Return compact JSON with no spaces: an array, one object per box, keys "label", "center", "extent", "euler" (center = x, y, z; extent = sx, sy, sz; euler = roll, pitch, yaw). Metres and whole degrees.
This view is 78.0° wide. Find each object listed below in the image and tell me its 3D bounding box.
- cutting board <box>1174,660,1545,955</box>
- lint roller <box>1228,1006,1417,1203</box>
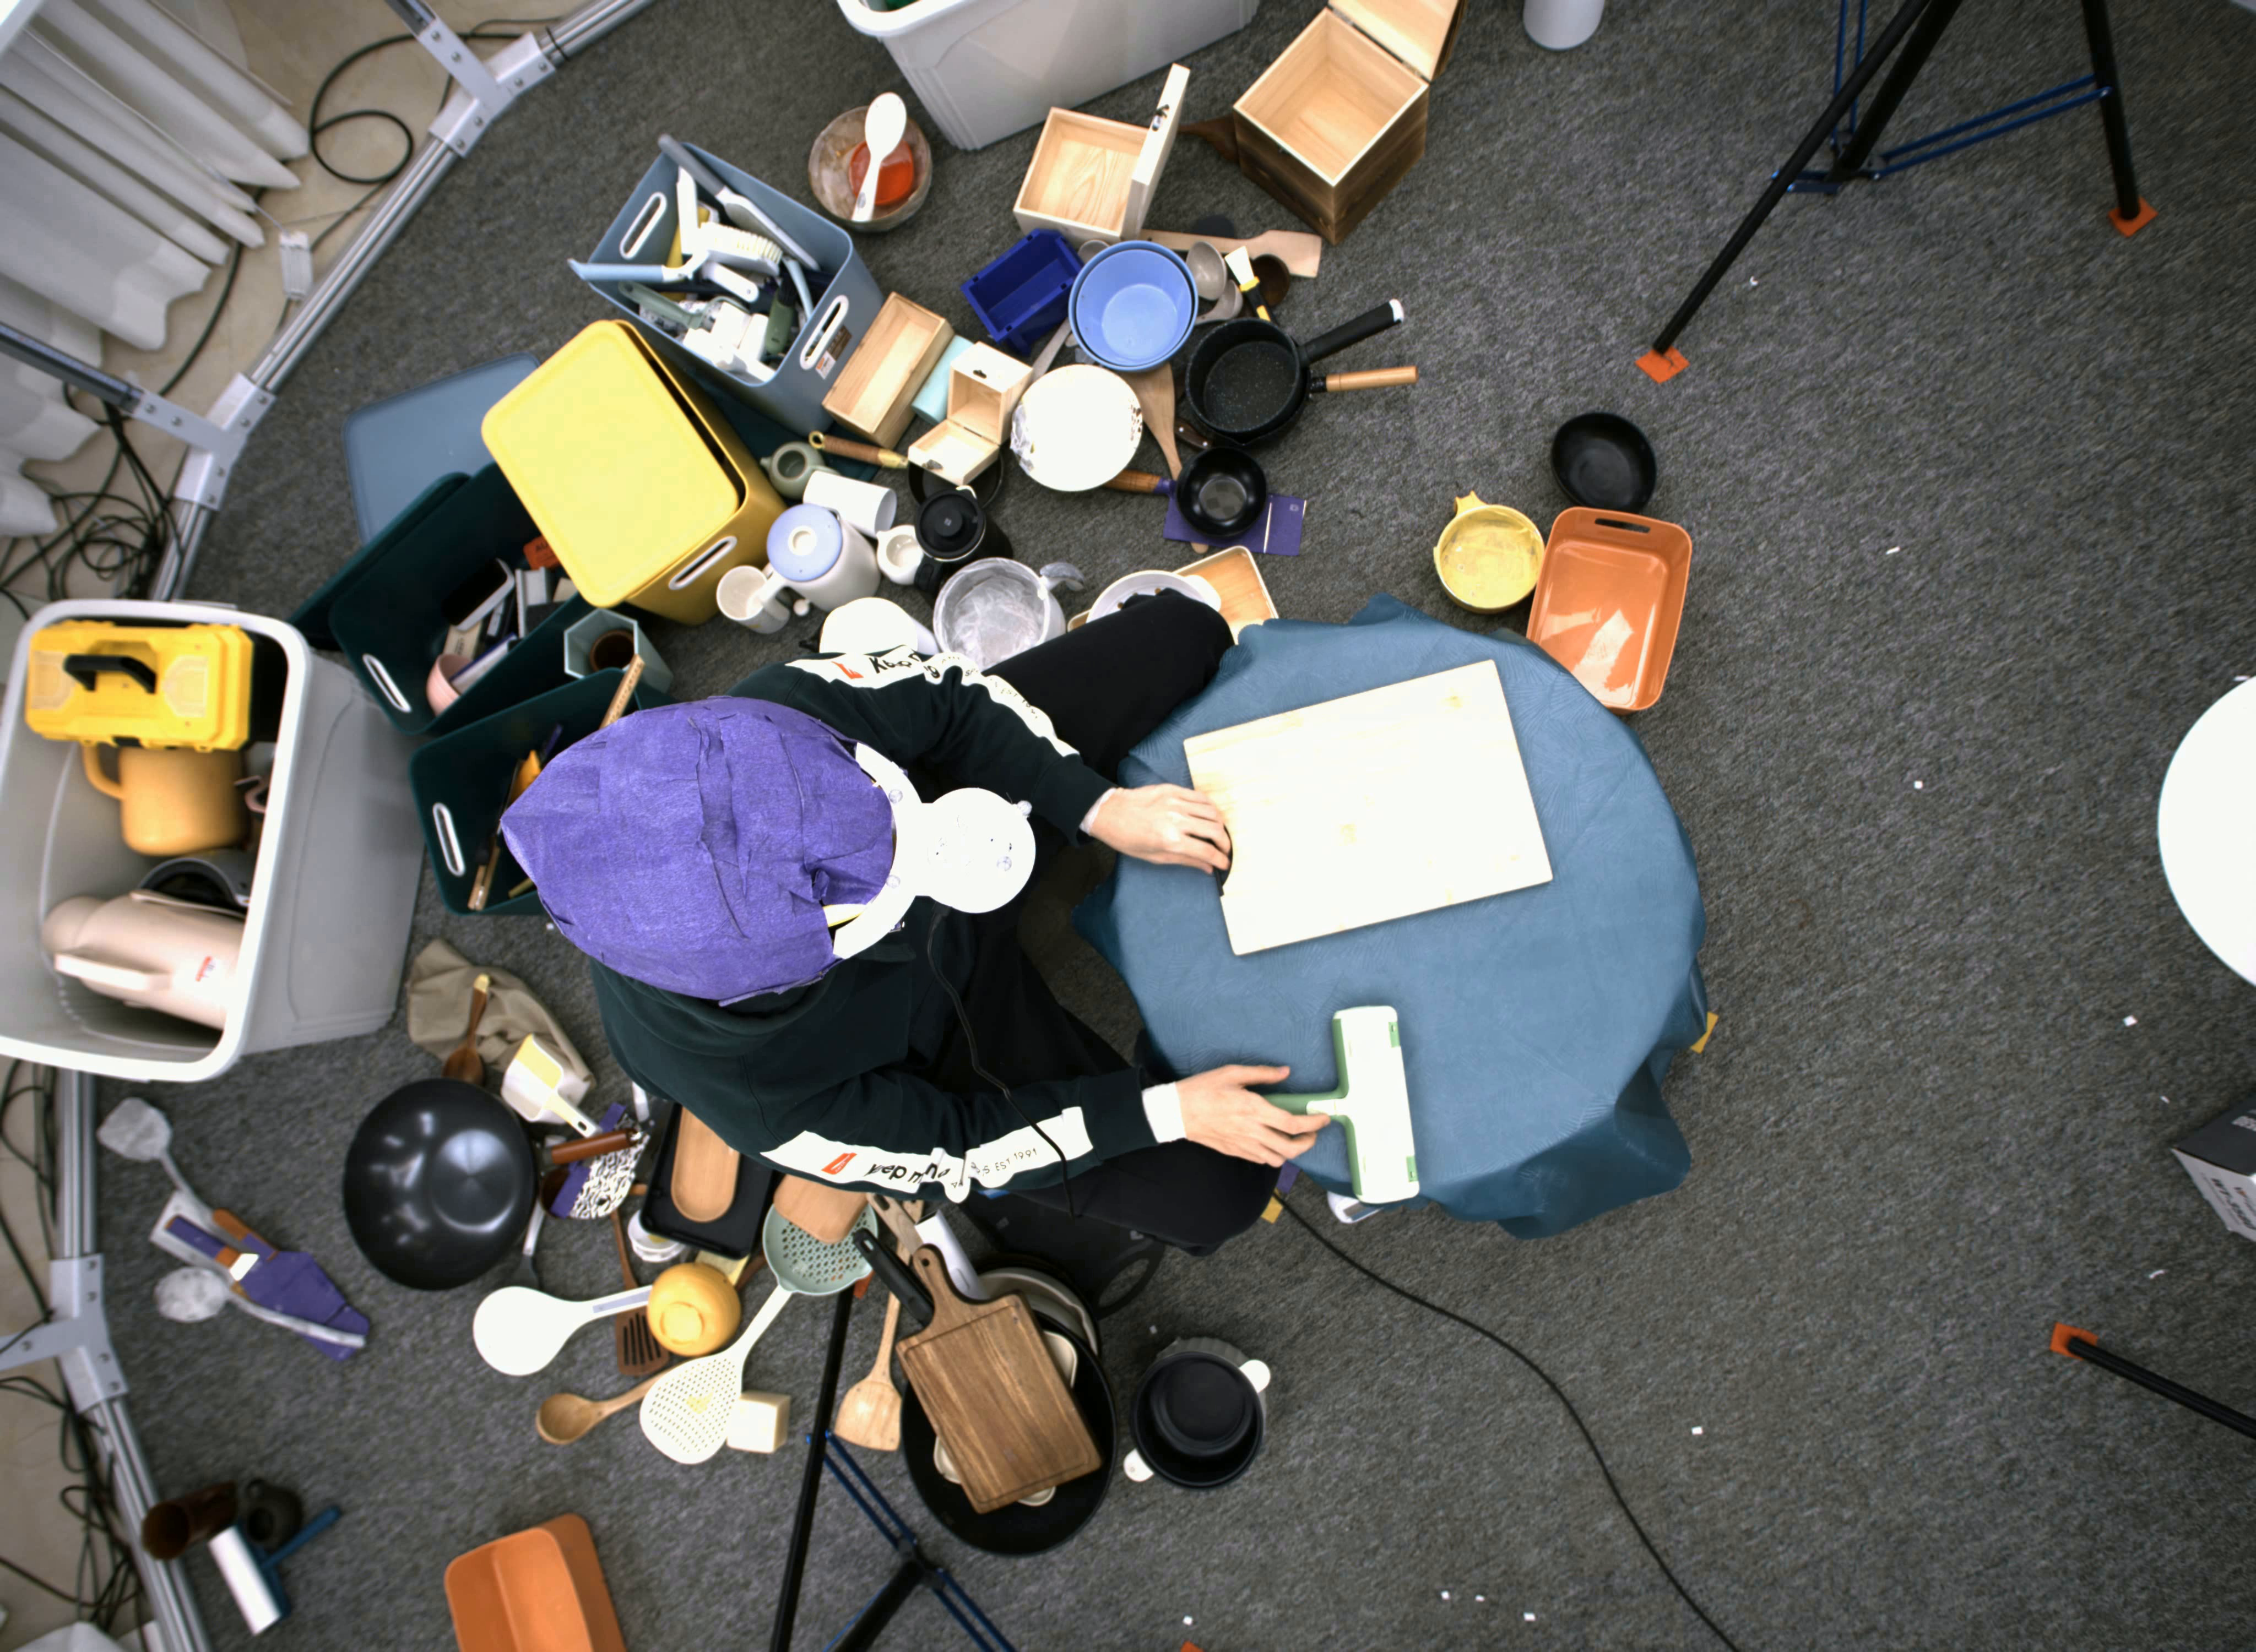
[{"label":"cutting board","center":[0.243,-0.020,1.457],"extent":[0.350,0.023,0.249],"euler":[-15,84,9]},{"label":"lint roller","center":[0.193,0.289,1.419],"extent":[0.184,0.082,0.197],"euler":[-7,86,5]}]
